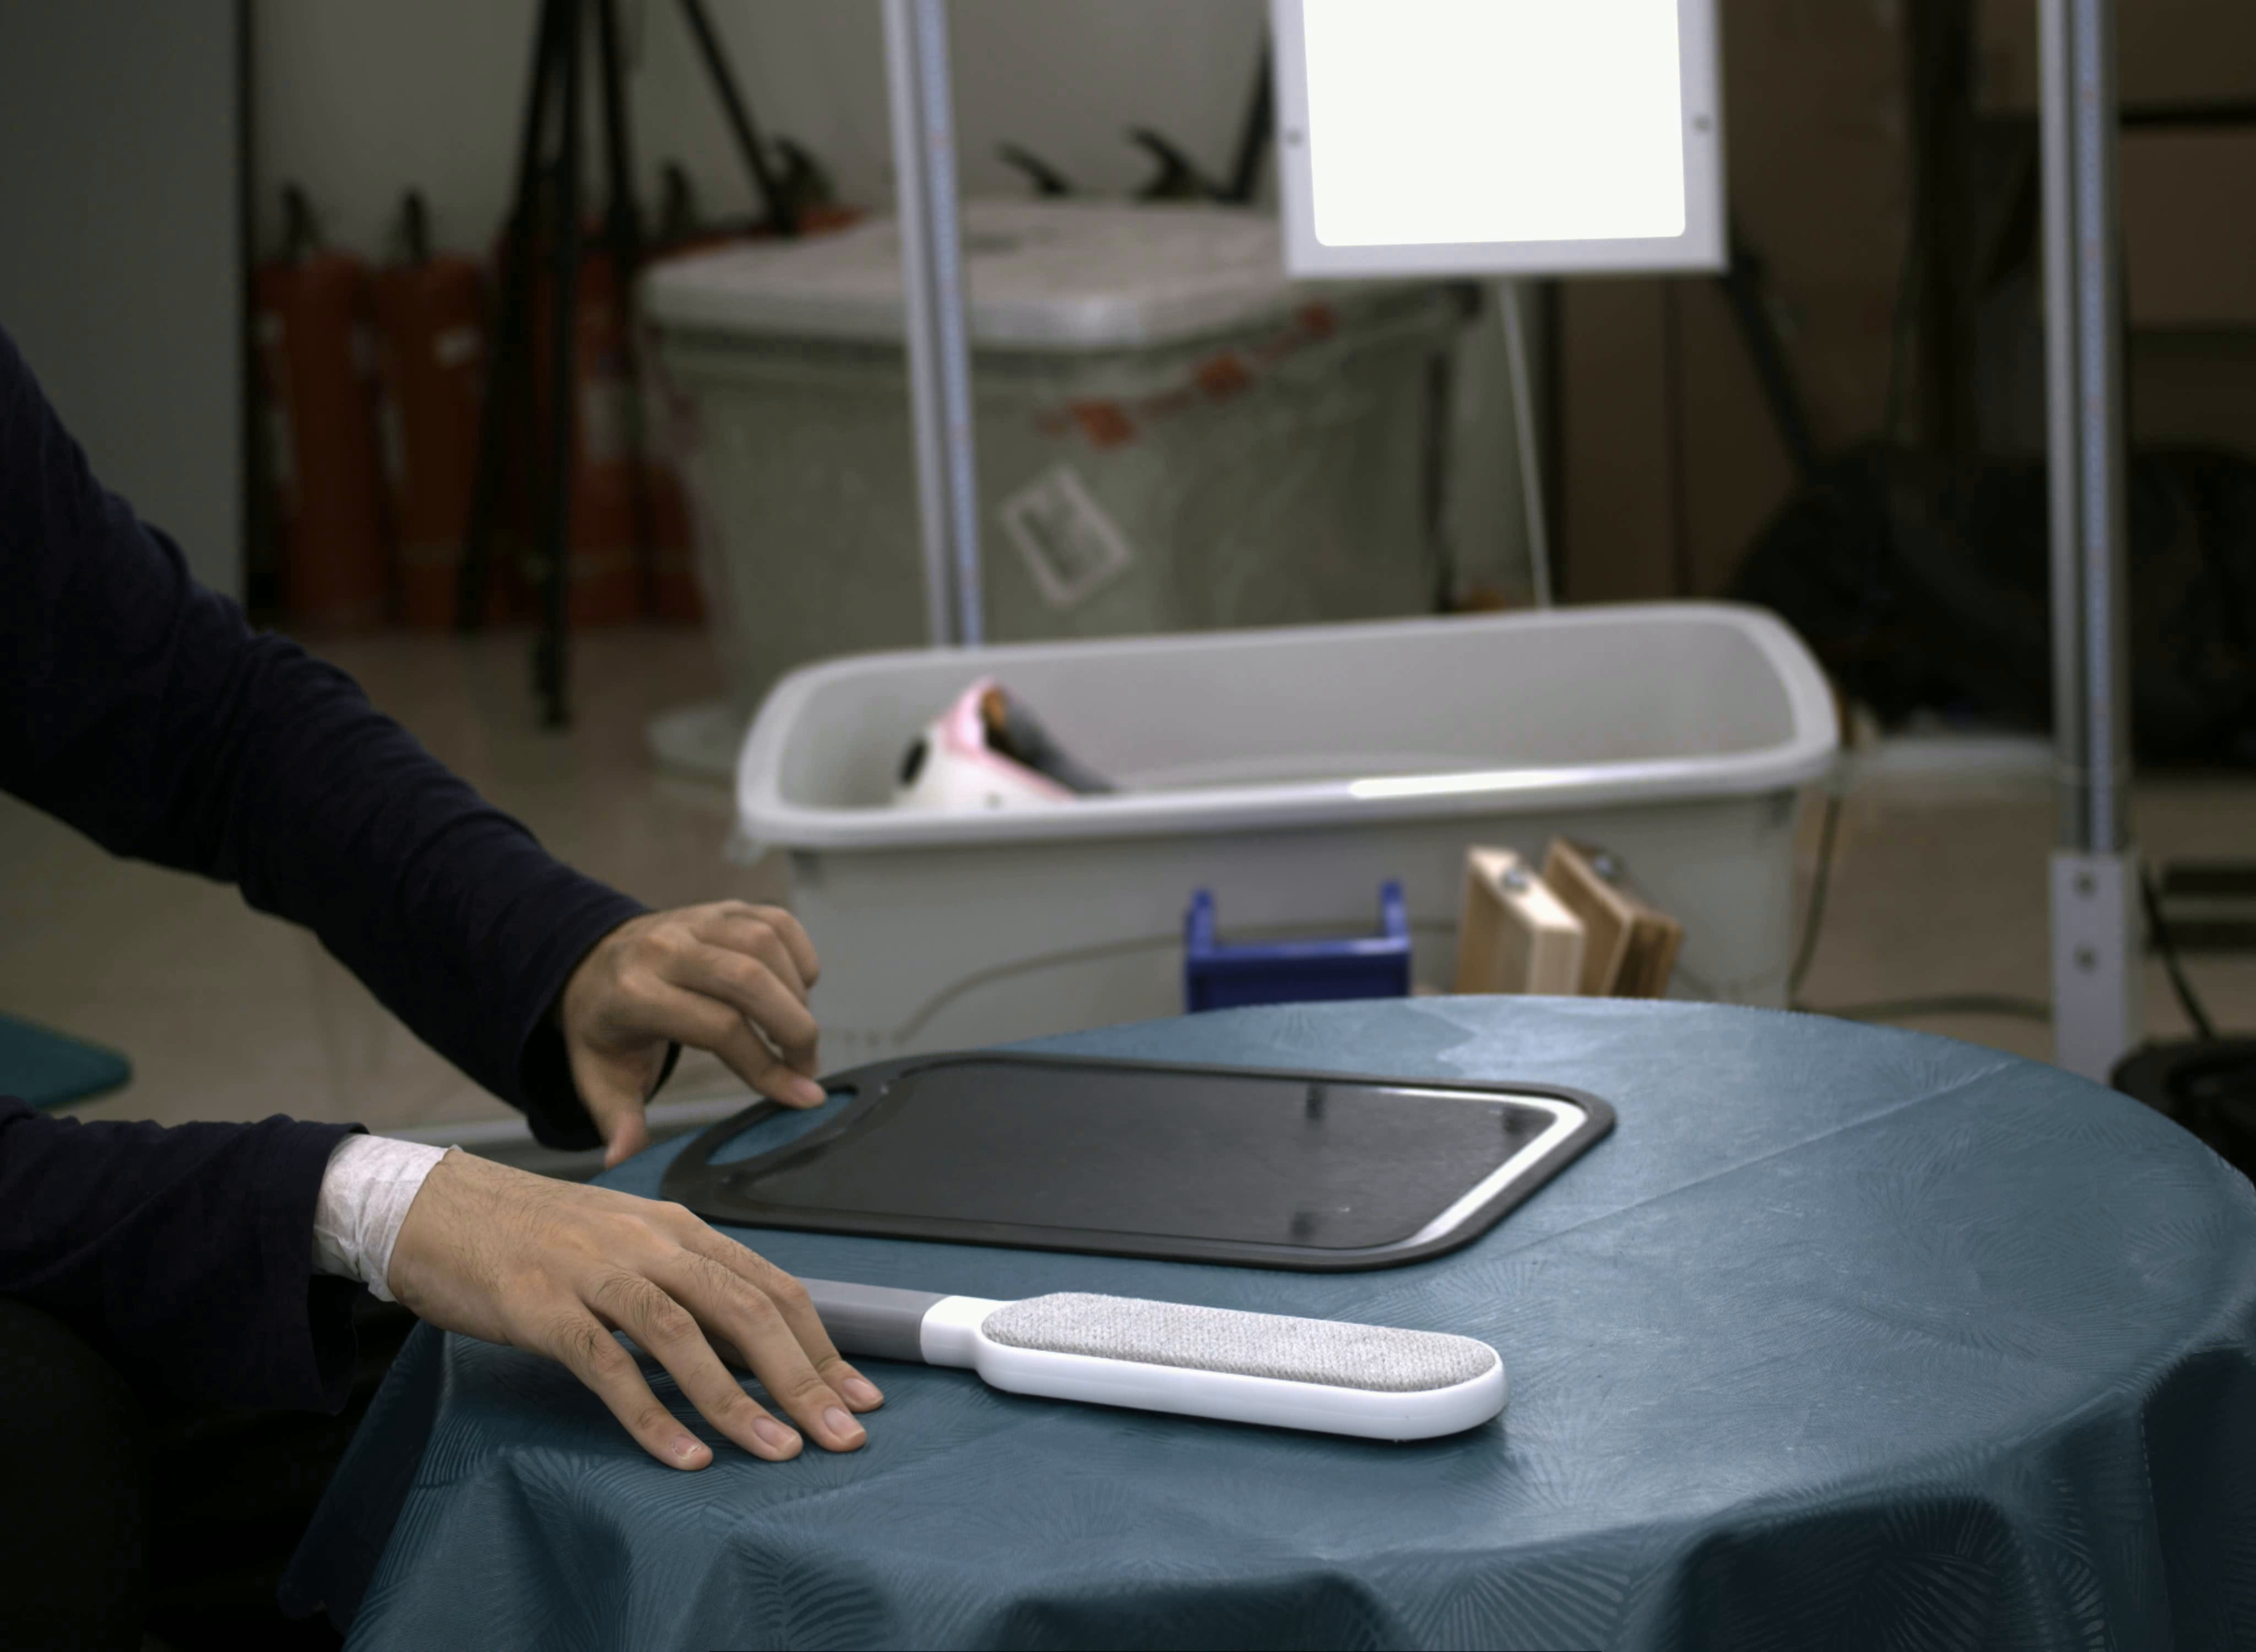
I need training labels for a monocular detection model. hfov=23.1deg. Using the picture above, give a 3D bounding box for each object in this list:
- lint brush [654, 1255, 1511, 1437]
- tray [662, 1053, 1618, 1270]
[{"bbox_3d":[-0.021,0.159,1.722,0.315,0.021,0.058,4,22,33],"label":"lint brush"},{"bbox_3d":[-0.003,0.114,1.943,0.331,0.010,0.206,2,15,29],"label":"tray"}]
